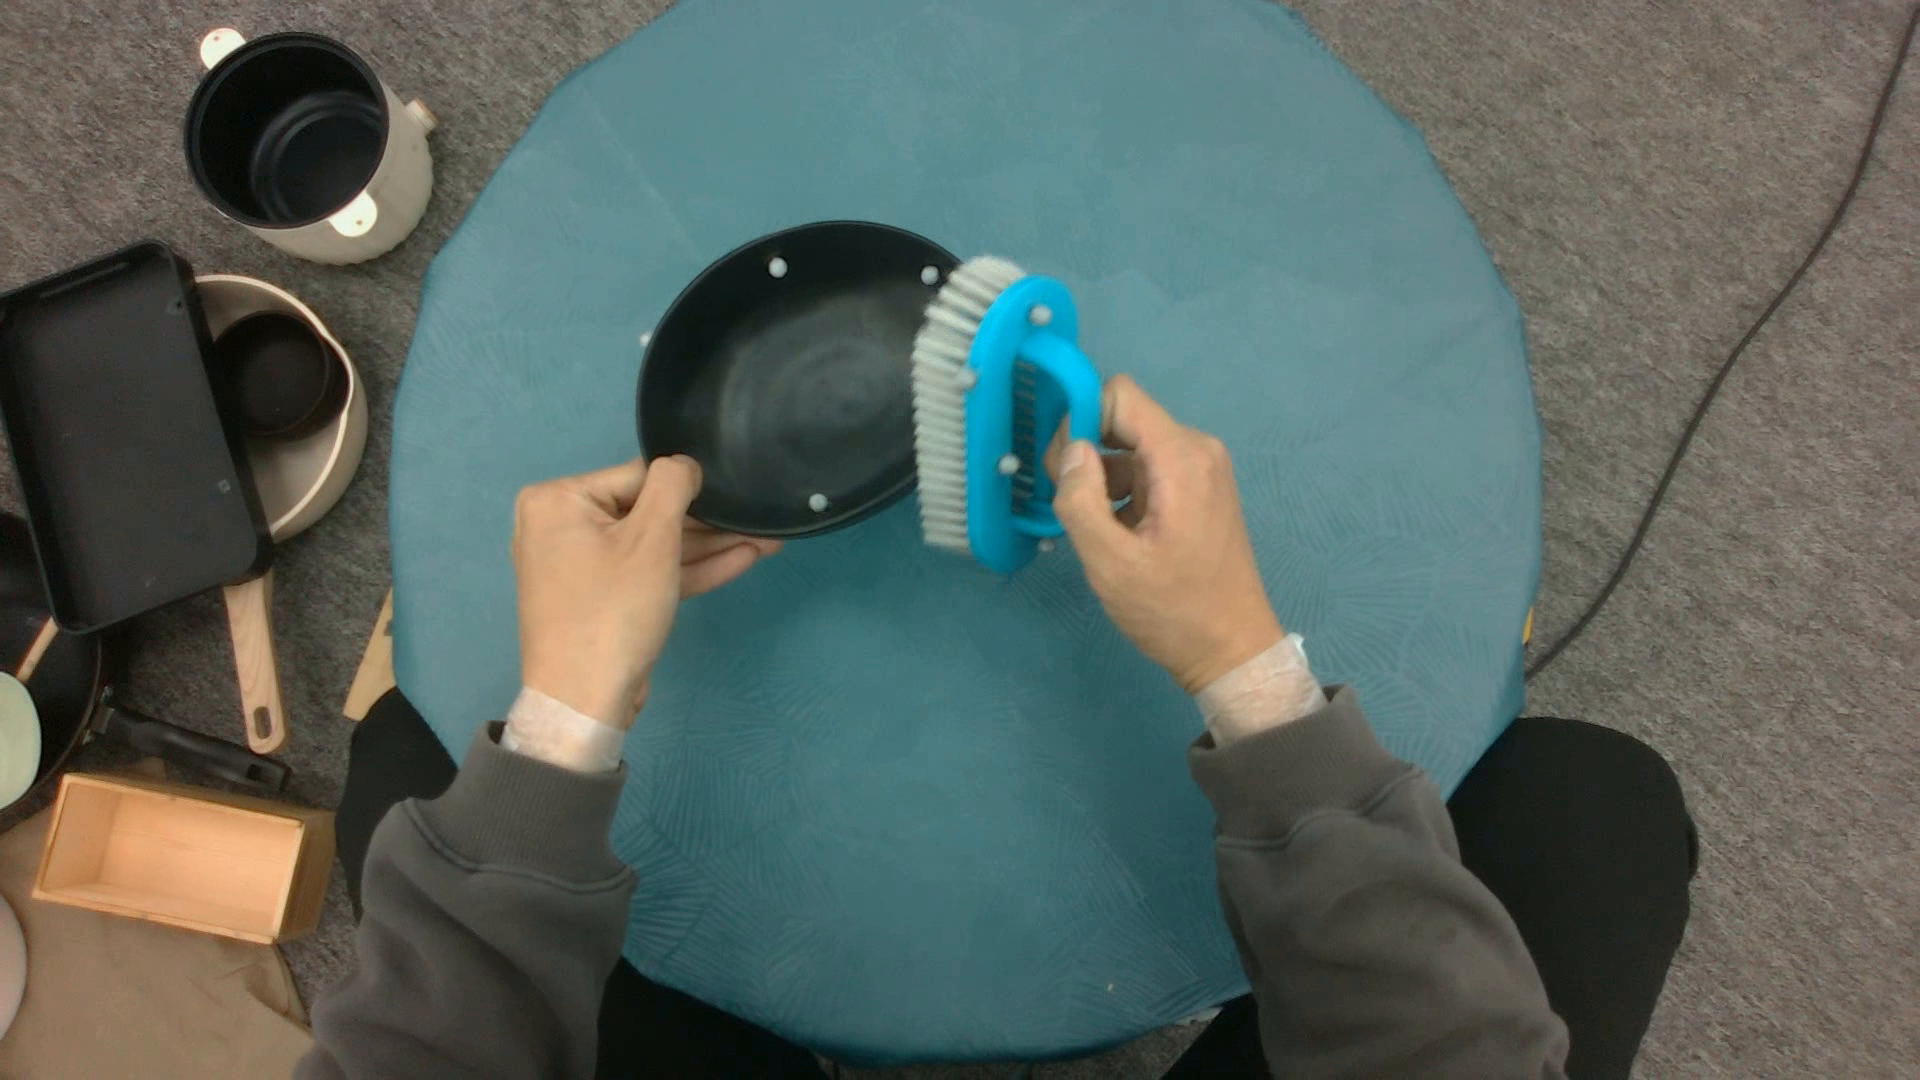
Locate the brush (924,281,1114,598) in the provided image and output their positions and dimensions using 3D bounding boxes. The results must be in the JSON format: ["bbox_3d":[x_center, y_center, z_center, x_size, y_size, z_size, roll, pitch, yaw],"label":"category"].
[{"bbox_3d":[0.032,-0.038,0.587,0.064,0.085,0.141,21,127,28],"label":"brush"}]

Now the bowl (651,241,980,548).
[{"bbox_3d":[-0.057,-0.063,0.640,0.170,0.066,0.137,-29,75,-1],"label":"bowl"}]
